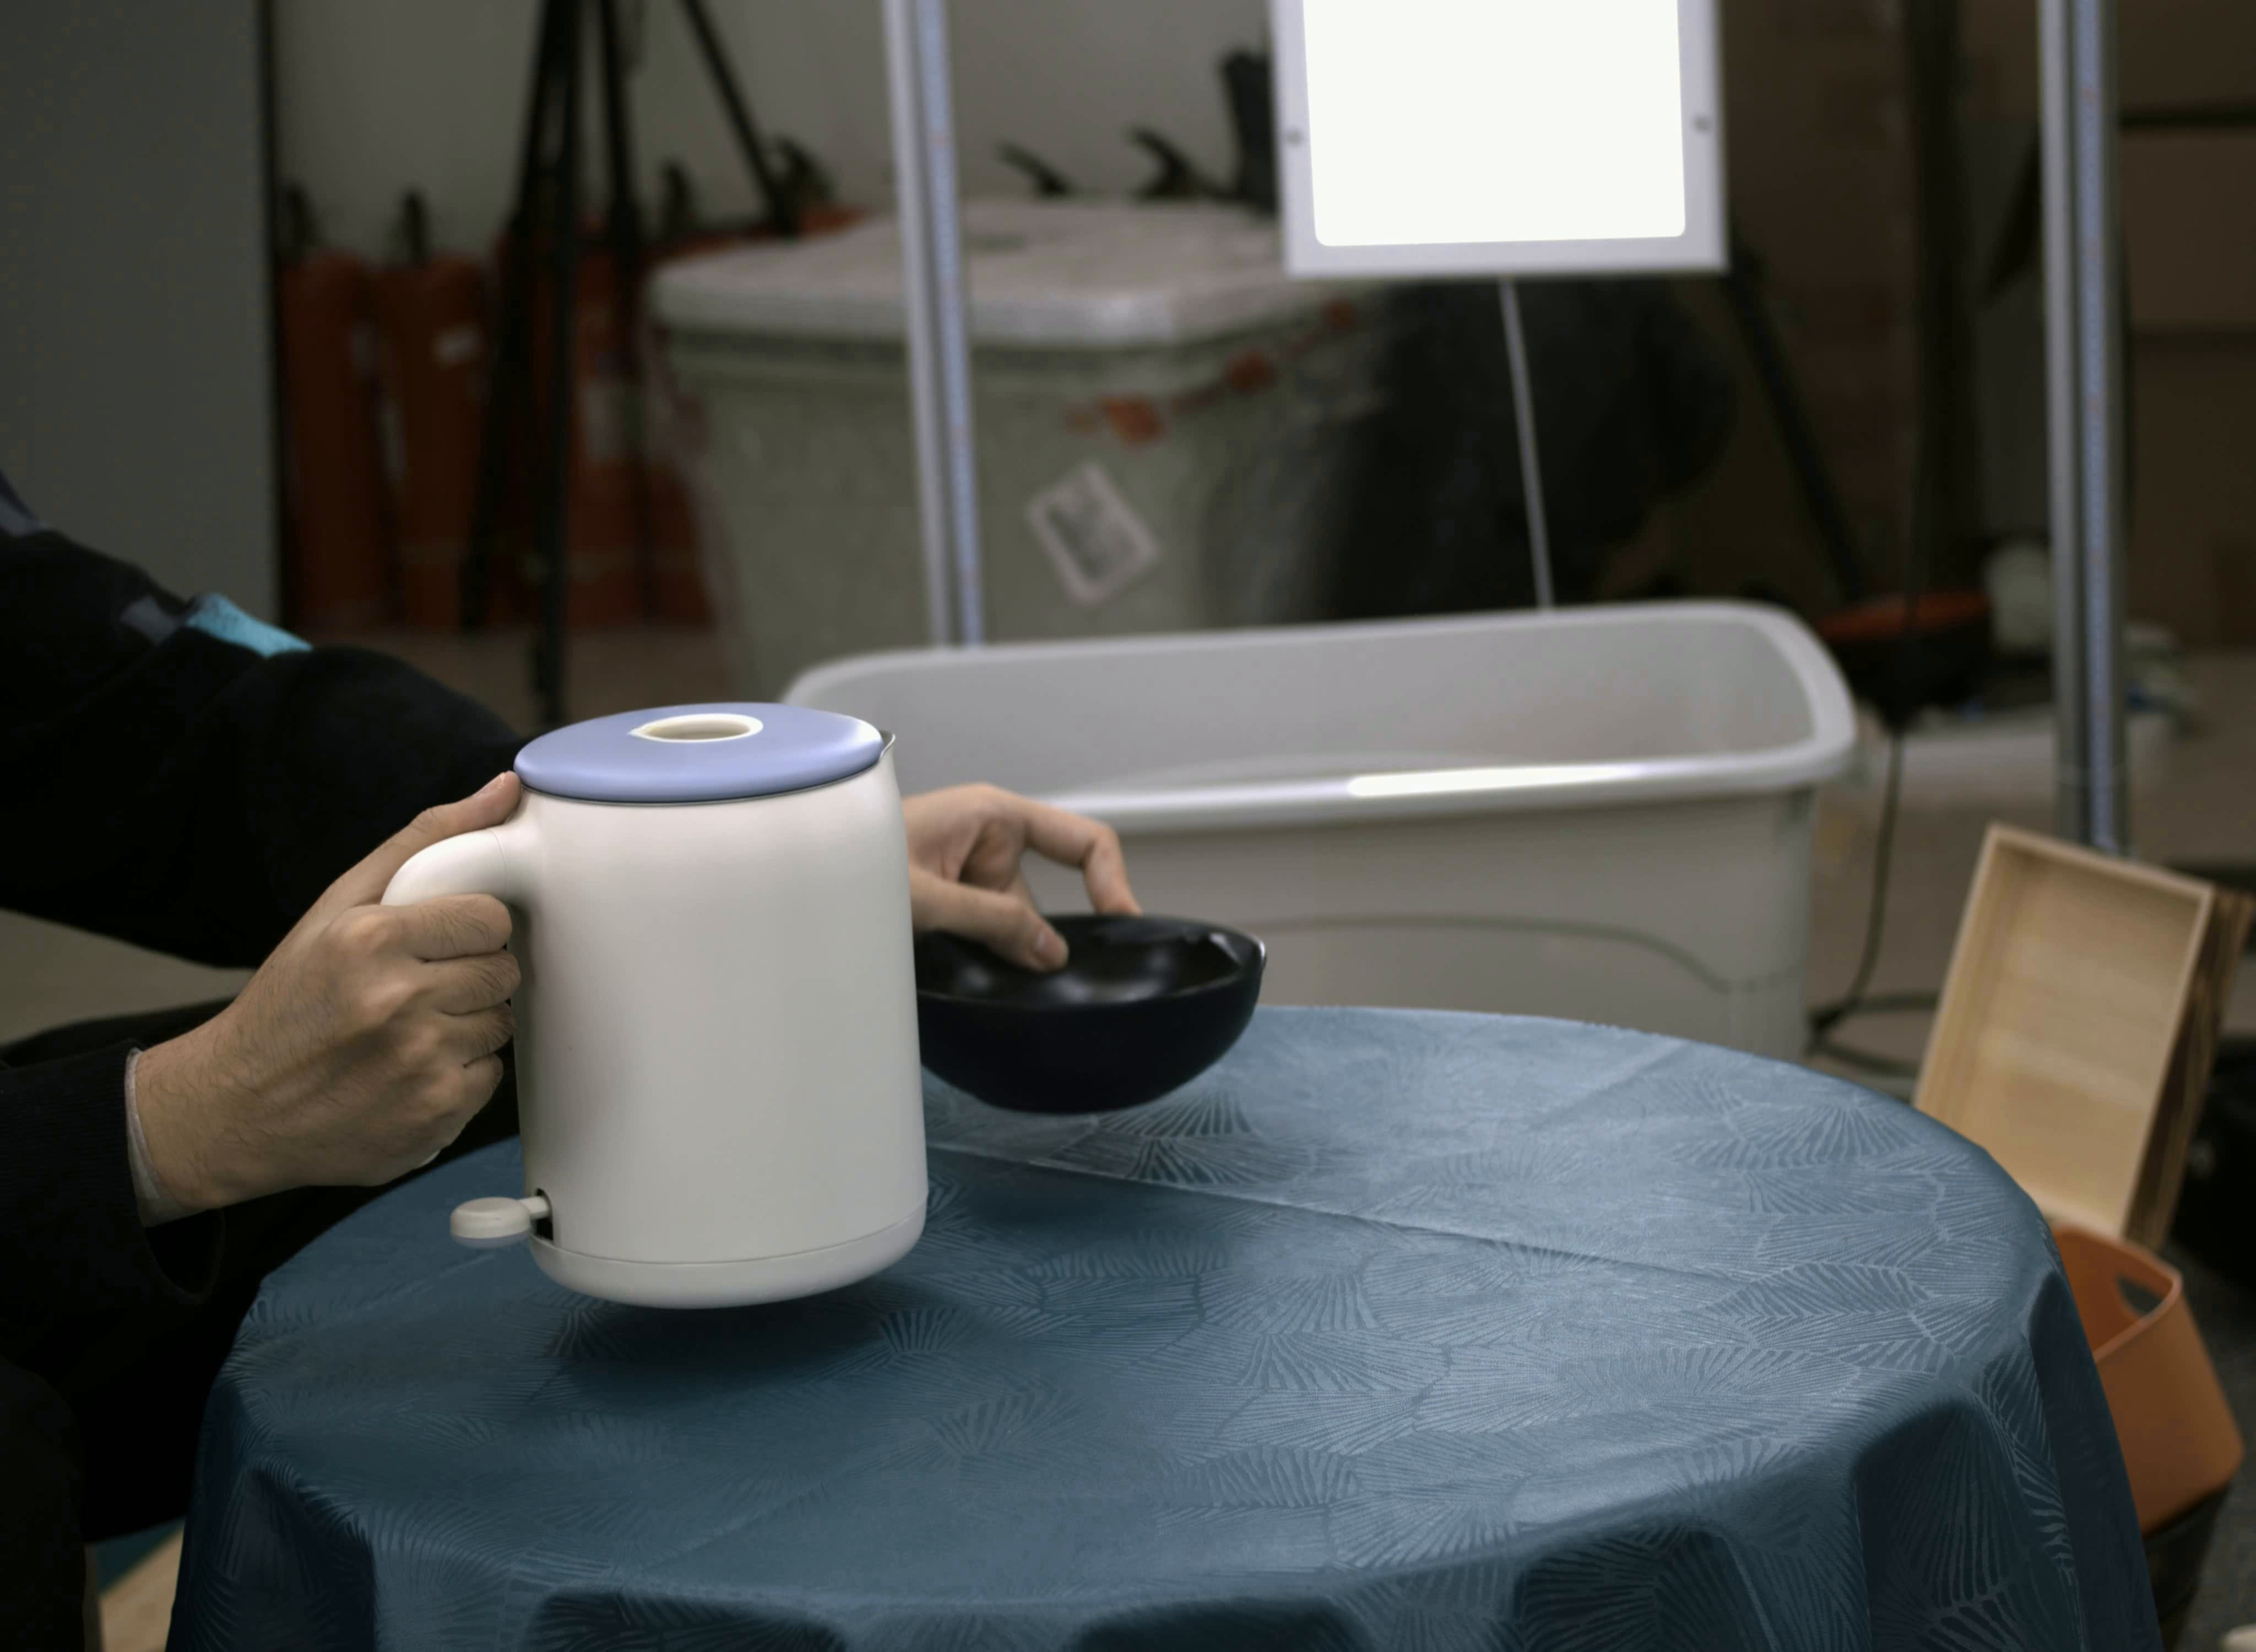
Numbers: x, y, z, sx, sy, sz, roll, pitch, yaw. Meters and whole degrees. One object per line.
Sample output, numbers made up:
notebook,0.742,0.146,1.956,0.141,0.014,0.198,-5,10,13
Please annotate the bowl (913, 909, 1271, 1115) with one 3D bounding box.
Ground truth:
bowl,-0.018,0.068,1.929,0.139,0.050,0.140,-5,12,0

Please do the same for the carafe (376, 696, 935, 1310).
carafe,-0.154,0.060,1.764,0.187,0.183,0.134,-13,15,-27
